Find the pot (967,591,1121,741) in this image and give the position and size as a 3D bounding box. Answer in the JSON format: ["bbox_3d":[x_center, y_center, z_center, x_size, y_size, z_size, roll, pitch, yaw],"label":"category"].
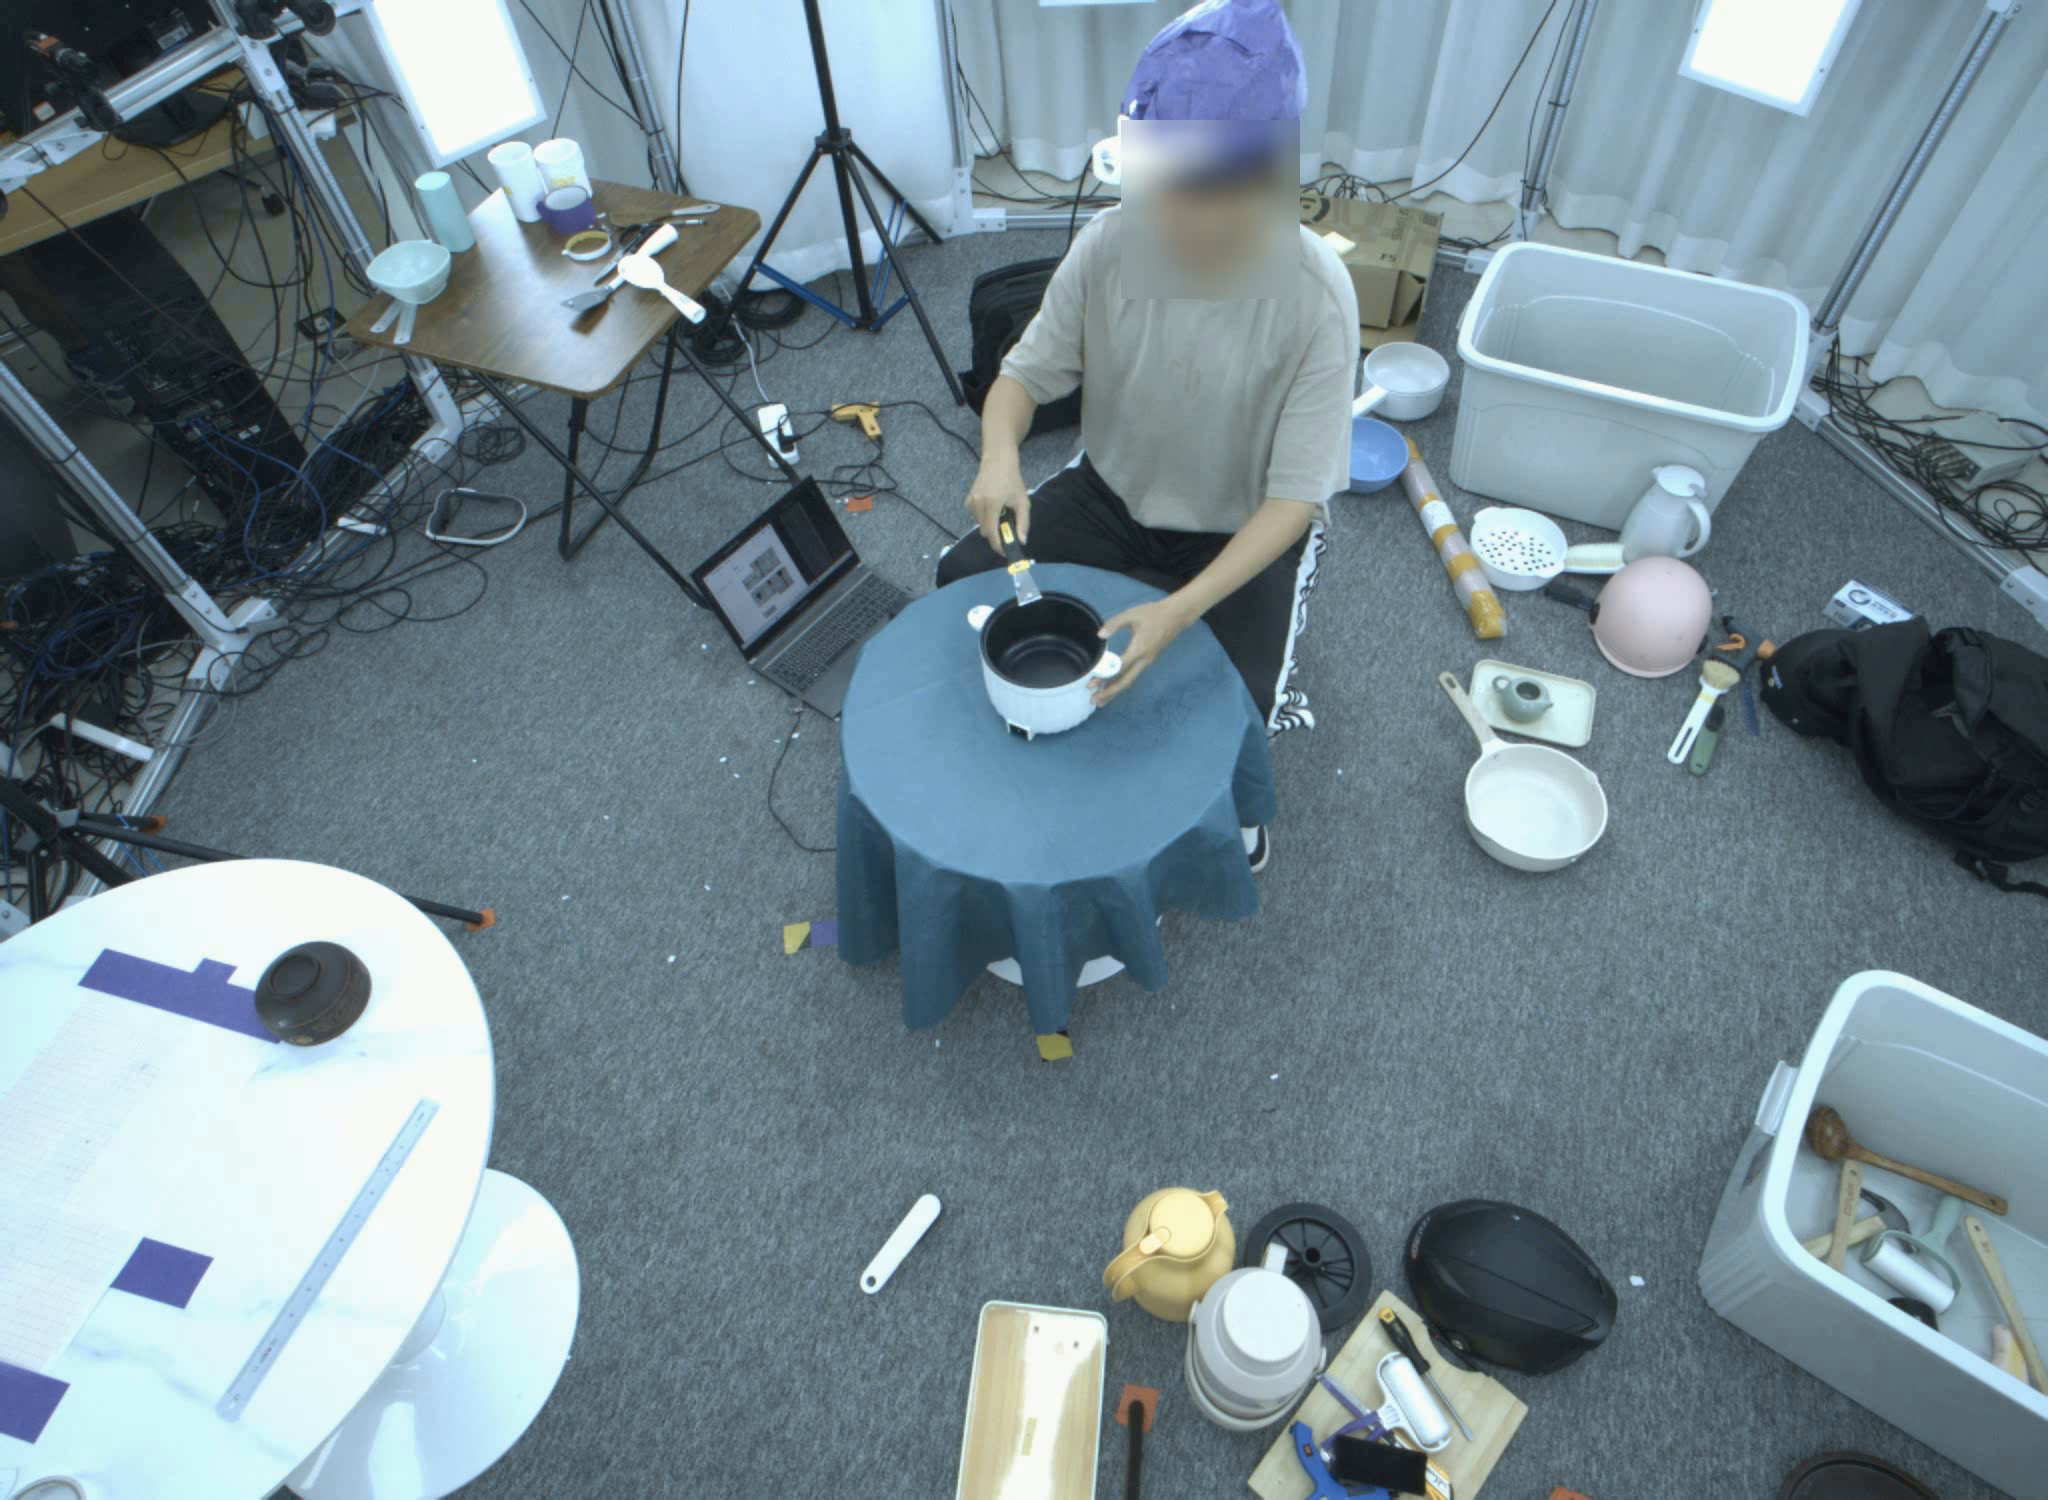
[{"bbox_3d":[0.032,-0.123,1.785,0.237,0.144,0.191,23,63,17],"label":"pot"}]

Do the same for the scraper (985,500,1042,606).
[{"bbox_3d":[-0.019,-0.282,1.735,0.038,0.015,0.169,-23,73,9],"label":"scraper"}]
